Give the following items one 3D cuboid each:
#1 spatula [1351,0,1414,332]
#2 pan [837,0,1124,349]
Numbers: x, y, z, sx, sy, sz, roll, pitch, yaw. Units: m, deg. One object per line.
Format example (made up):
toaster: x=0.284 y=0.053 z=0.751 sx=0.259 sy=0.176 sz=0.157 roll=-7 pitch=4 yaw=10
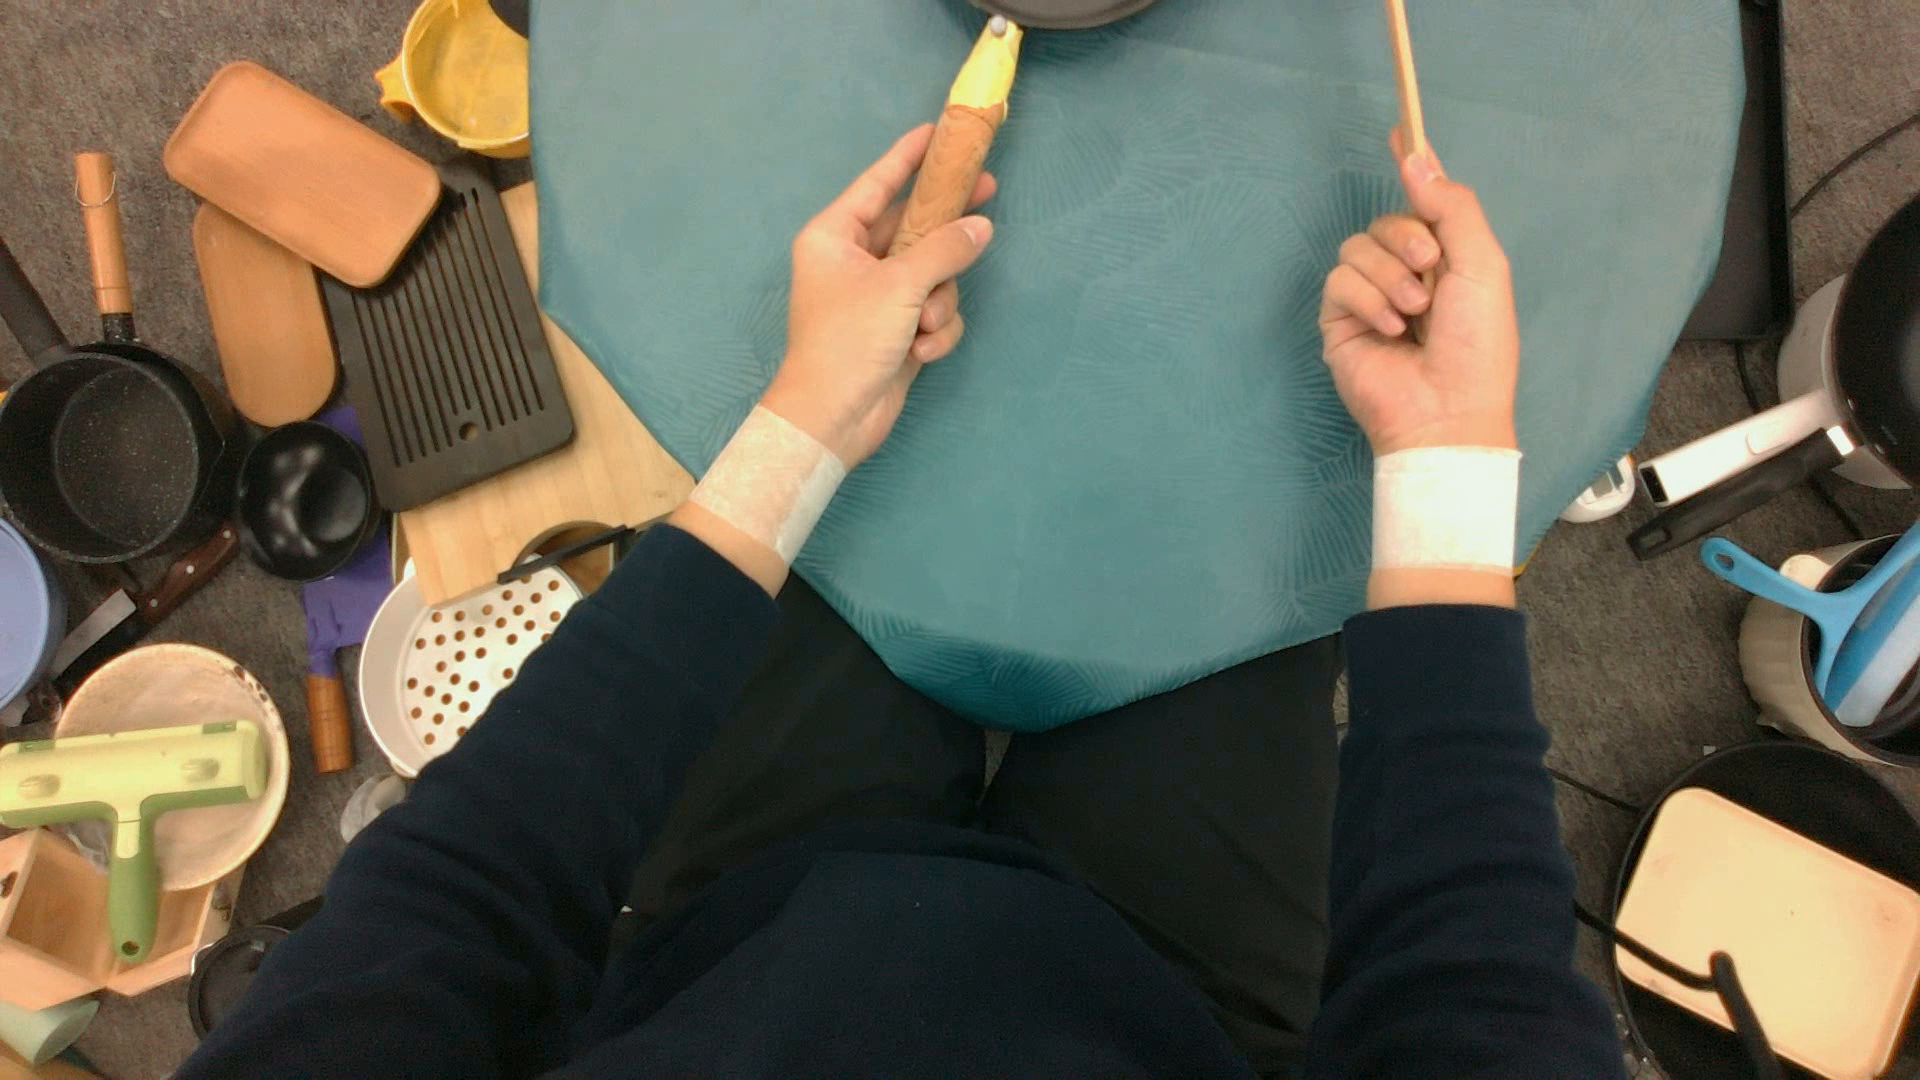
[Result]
spatula: x=0.189 y=-0.257 z=0.637 sx=0.016 sy=0.080 sz=0.328 roll=-6 pitch=83 yaw=5
pan: x=0.004 y=-0.242 z=0.658 sx=0.169 sy=0.049 sz=0.324 roll=20 pitch=85 yaw=1
